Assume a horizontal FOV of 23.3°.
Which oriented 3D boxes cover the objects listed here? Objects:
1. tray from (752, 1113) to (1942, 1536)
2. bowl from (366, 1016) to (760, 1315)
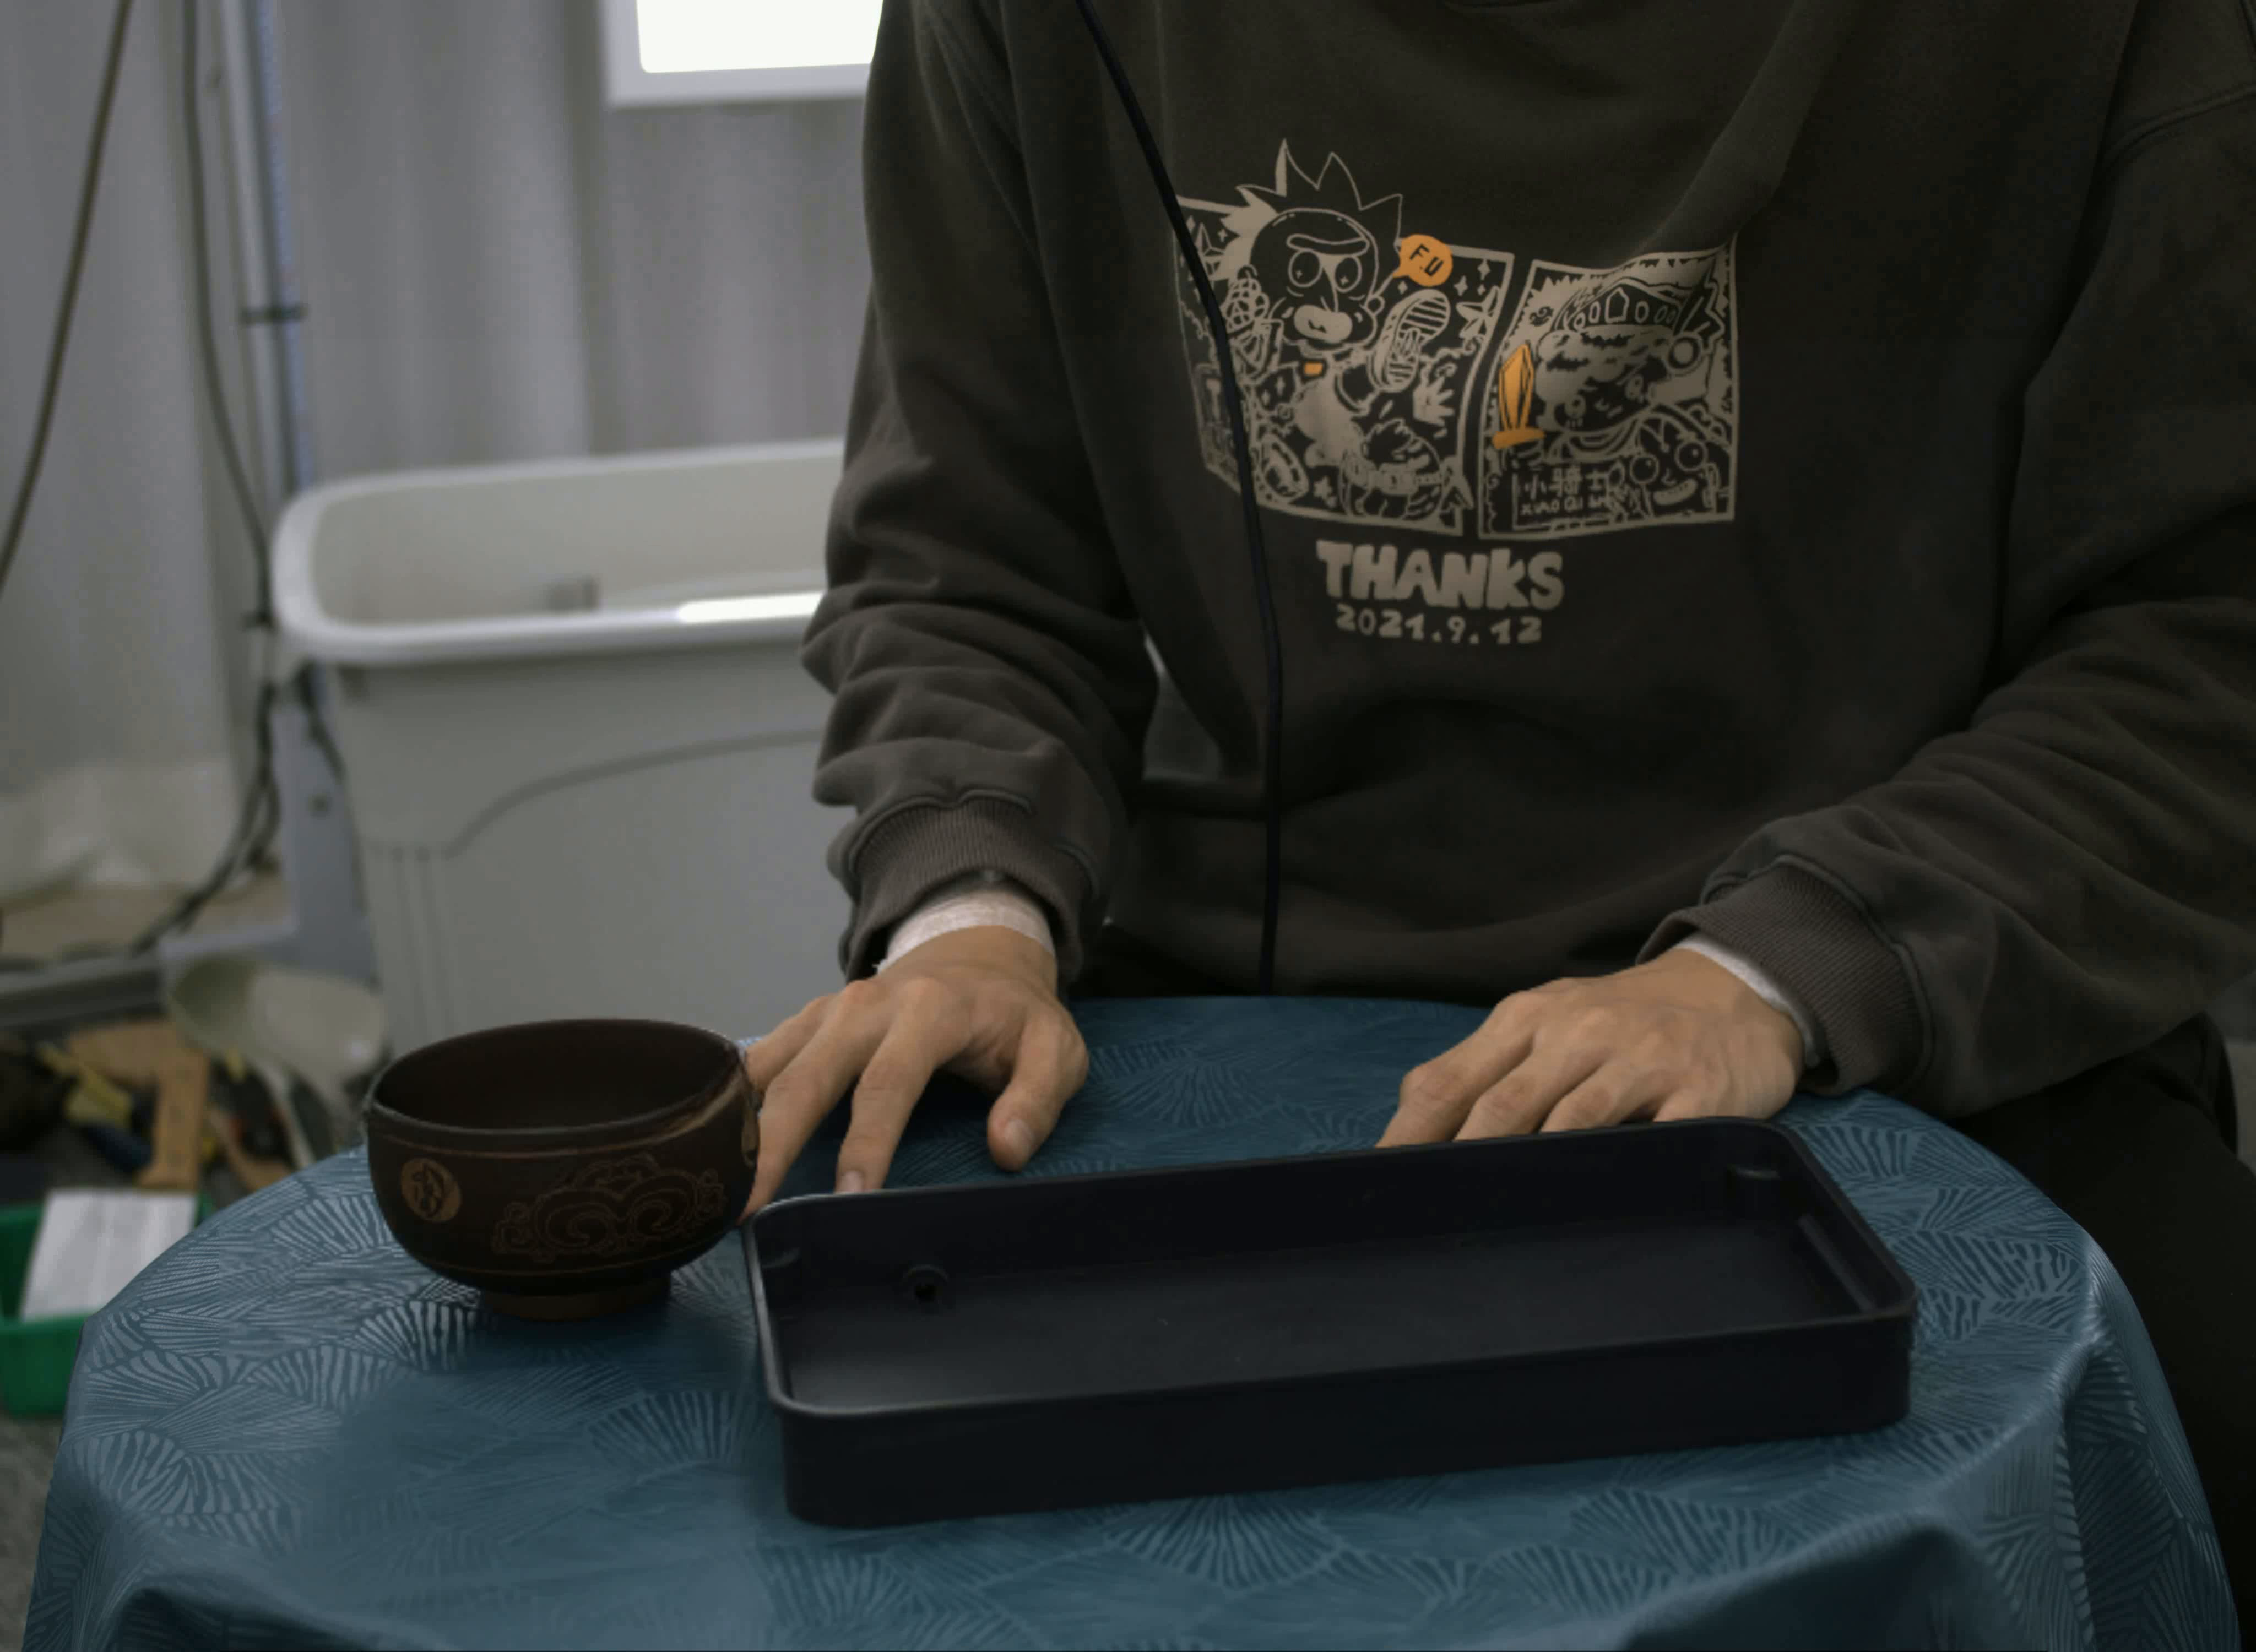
[{"bbox_3d":[0.058,0.138,1.556,0.316,0.037,0.185,-6,14,-8],"label":"tray"},{"bbox_3d":[-0.169,0.106,1.651,0.117,0.069,0.119,-2,13,0],"label":"bowl"}]
